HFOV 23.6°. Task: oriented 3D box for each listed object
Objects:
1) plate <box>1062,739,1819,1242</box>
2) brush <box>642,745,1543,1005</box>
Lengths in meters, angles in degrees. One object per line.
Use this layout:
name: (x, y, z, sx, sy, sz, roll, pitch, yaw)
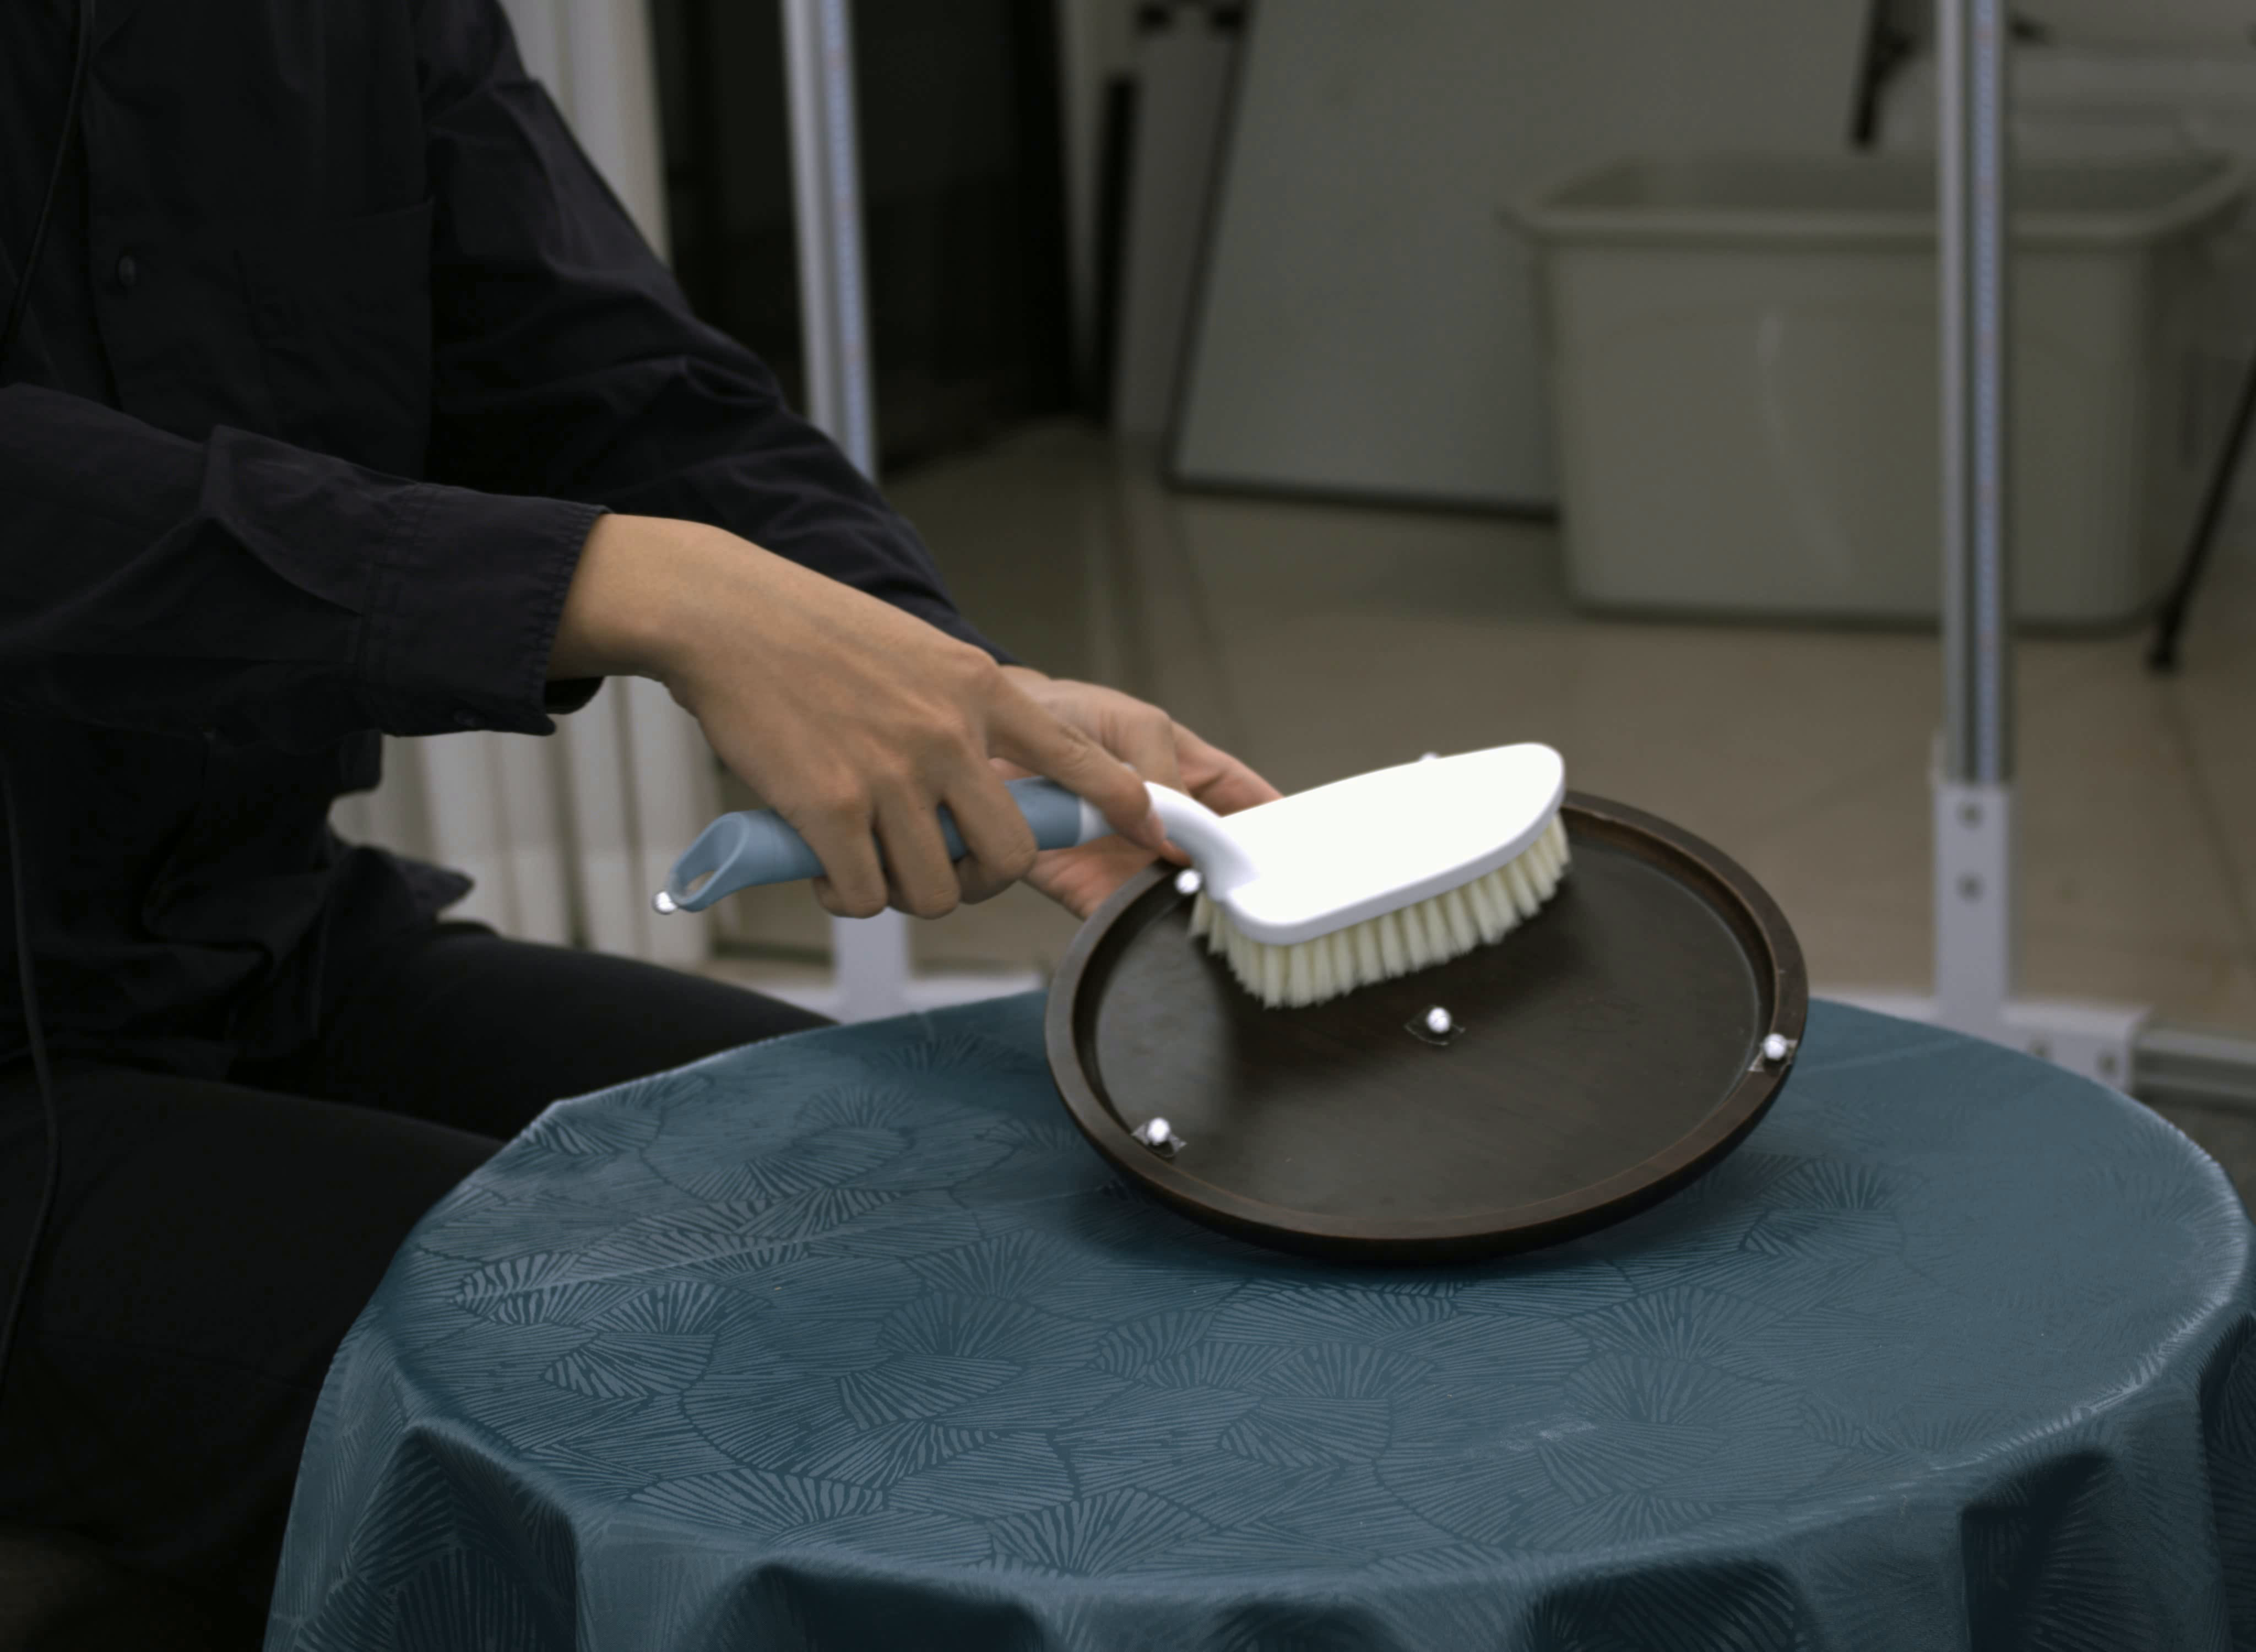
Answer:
plate: (0.103, 0.054, 1.782, 0.252, 0.029, 0.256, -6, 35, 3)
brush: (-0.010, 0.024, 1.774, 0.318, 0.085, 0.084, -6, -5, -22)
